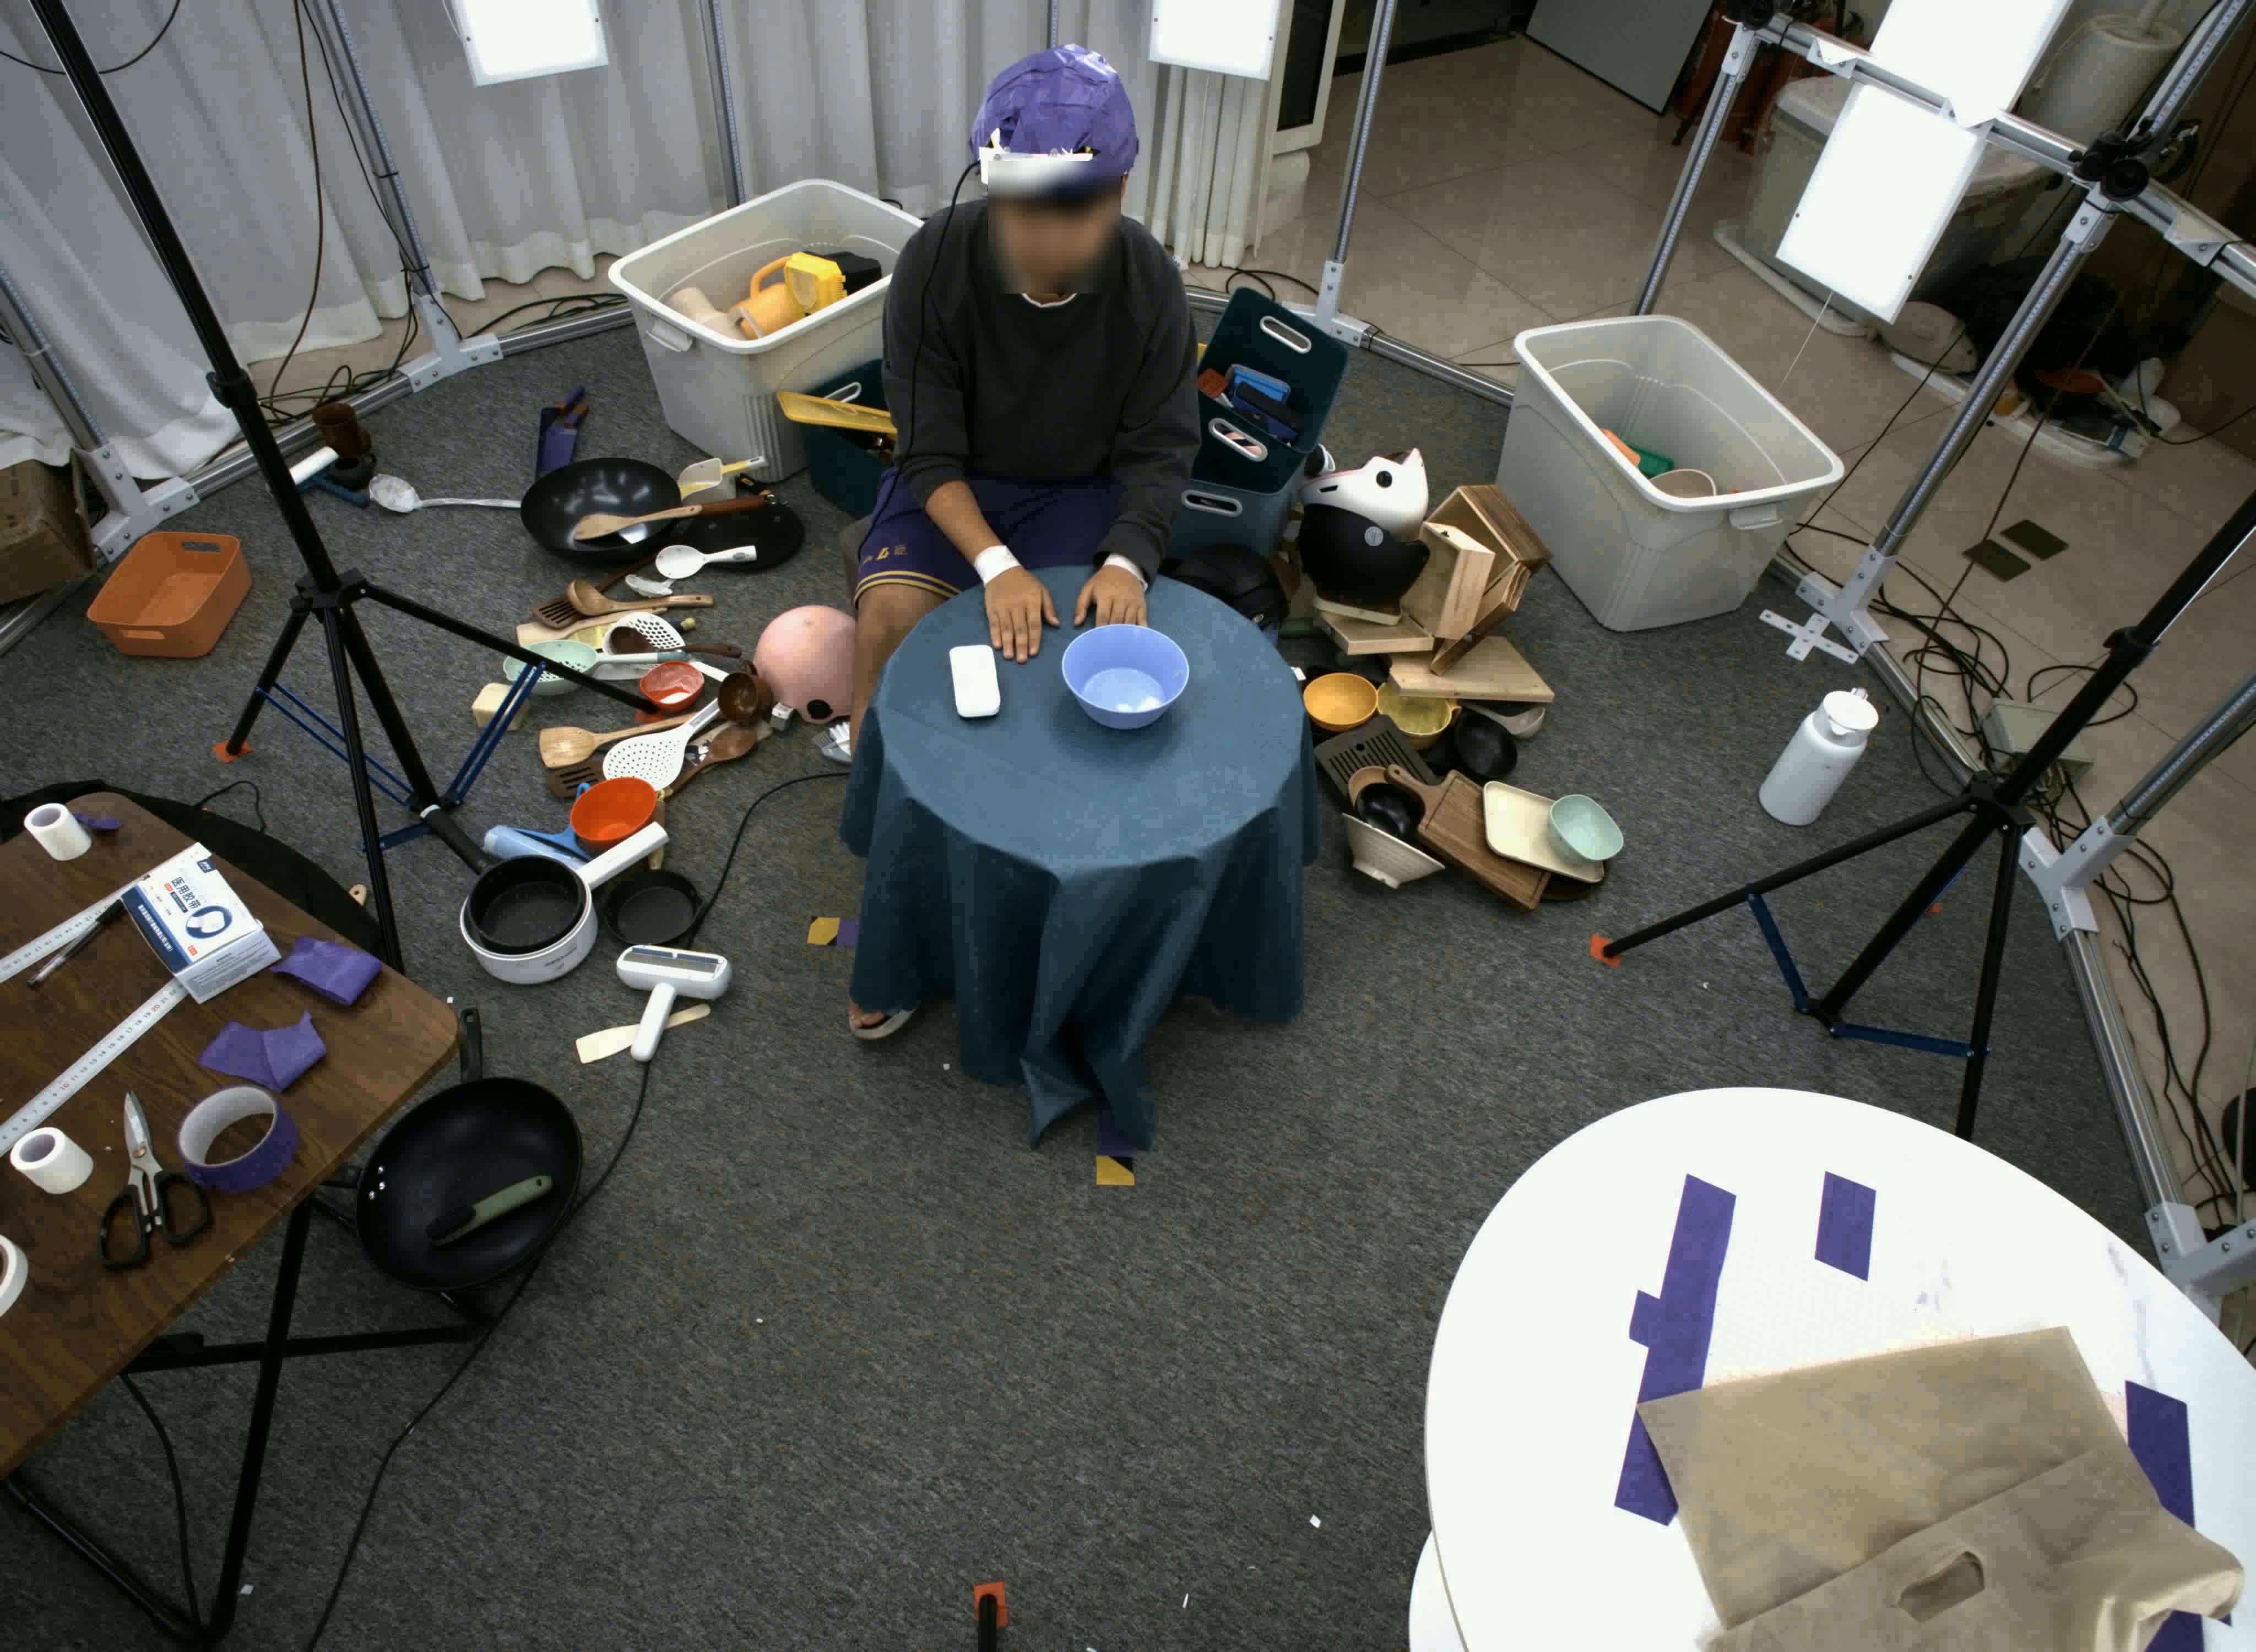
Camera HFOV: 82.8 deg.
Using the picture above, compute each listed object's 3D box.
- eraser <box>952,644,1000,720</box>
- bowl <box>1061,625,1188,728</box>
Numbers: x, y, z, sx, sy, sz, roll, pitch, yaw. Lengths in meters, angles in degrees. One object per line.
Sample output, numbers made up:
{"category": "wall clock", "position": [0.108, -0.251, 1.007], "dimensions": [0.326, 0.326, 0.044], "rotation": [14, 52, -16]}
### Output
{"category": "eraser", "position": [-0.213, -0.206, 1.810], "dimensions": [0.063, 0.034, 0.134], "rotation": [-3, 51, -8]}
{"category": "bowl", "position": [-0.007, -0.200, 1.794], "dimensions": [0.176, 0.068, 0.180], "rotation": [2, 49, -3]}
